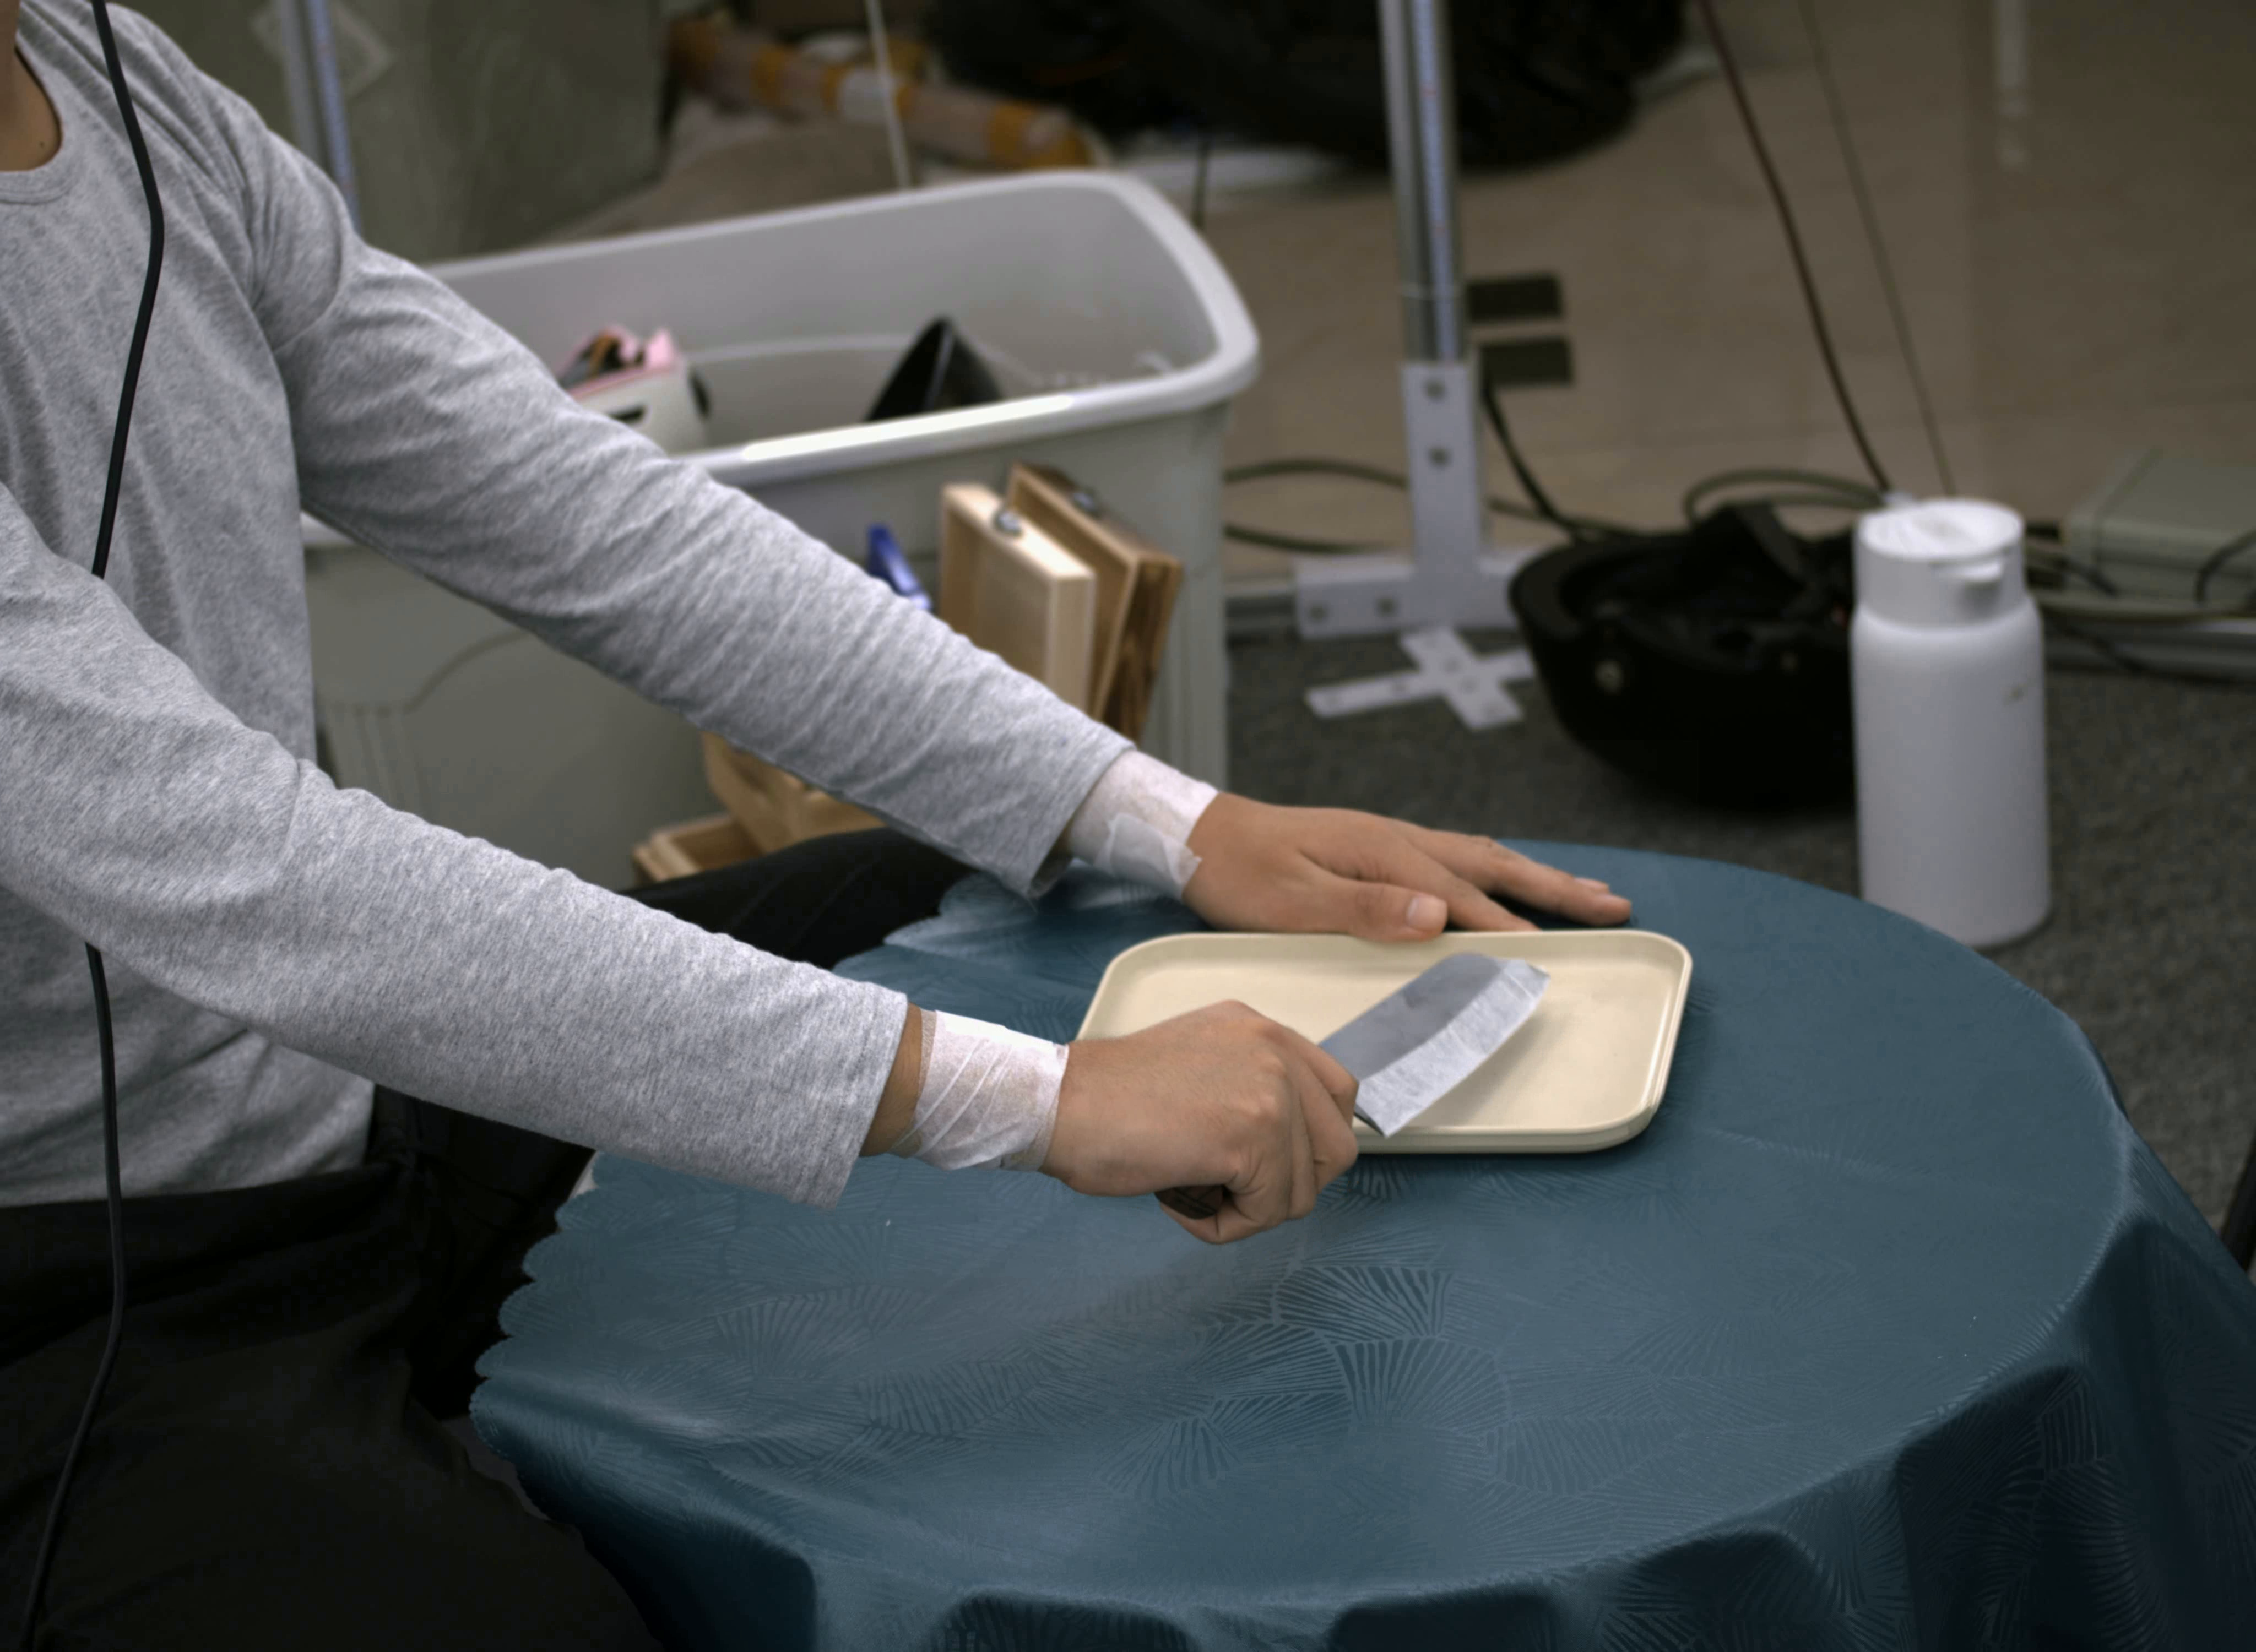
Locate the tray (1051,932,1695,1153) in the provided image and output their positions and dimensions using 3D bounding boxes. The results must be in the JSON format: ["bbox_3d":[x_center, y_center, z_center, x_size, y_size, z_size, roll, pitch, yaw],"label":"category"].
[{"bbox_3d":[0.098,0.086,2.222,0.239,0.018,0.169,-1,25,13],"label":"tray"}]

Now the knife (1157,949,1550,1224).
[{"bbox_3d":[0.090,0.094,2.121,0.050,0.020,0.287,48,34,11],"label":"knife"}]
